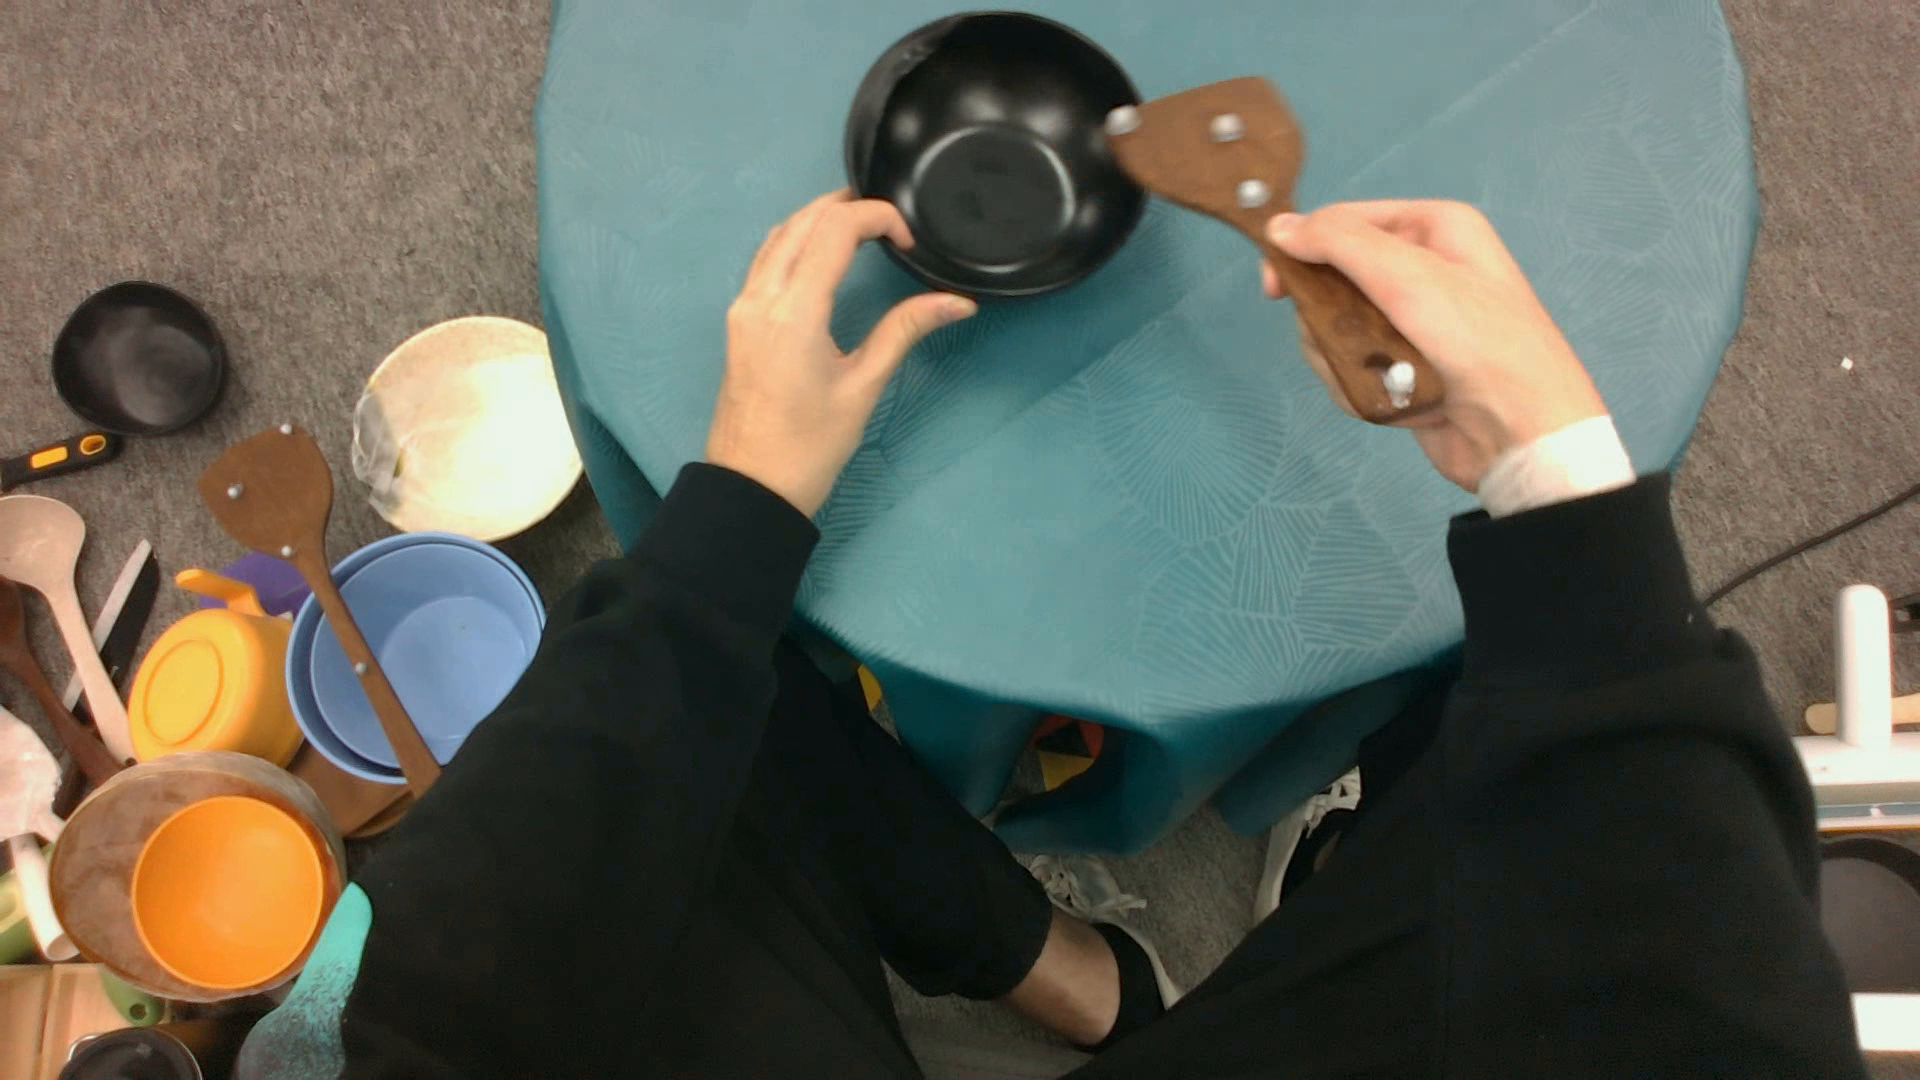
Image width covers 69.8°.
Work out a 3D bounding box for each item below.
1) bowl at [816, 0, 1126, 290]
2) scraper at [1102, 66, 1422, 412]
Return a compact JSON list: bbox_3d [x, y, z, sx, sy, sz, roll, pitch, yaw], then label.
[{"bbox_3d":[0.003,-0.173,0.631,0.140,0.049,0.140,2,76,-8],"label":"bowl"},{"bbox_3d":[0.115,-0.117,0.510,0.076,0.011,0.212,-14,47,-2],"label":"scraper"}]
